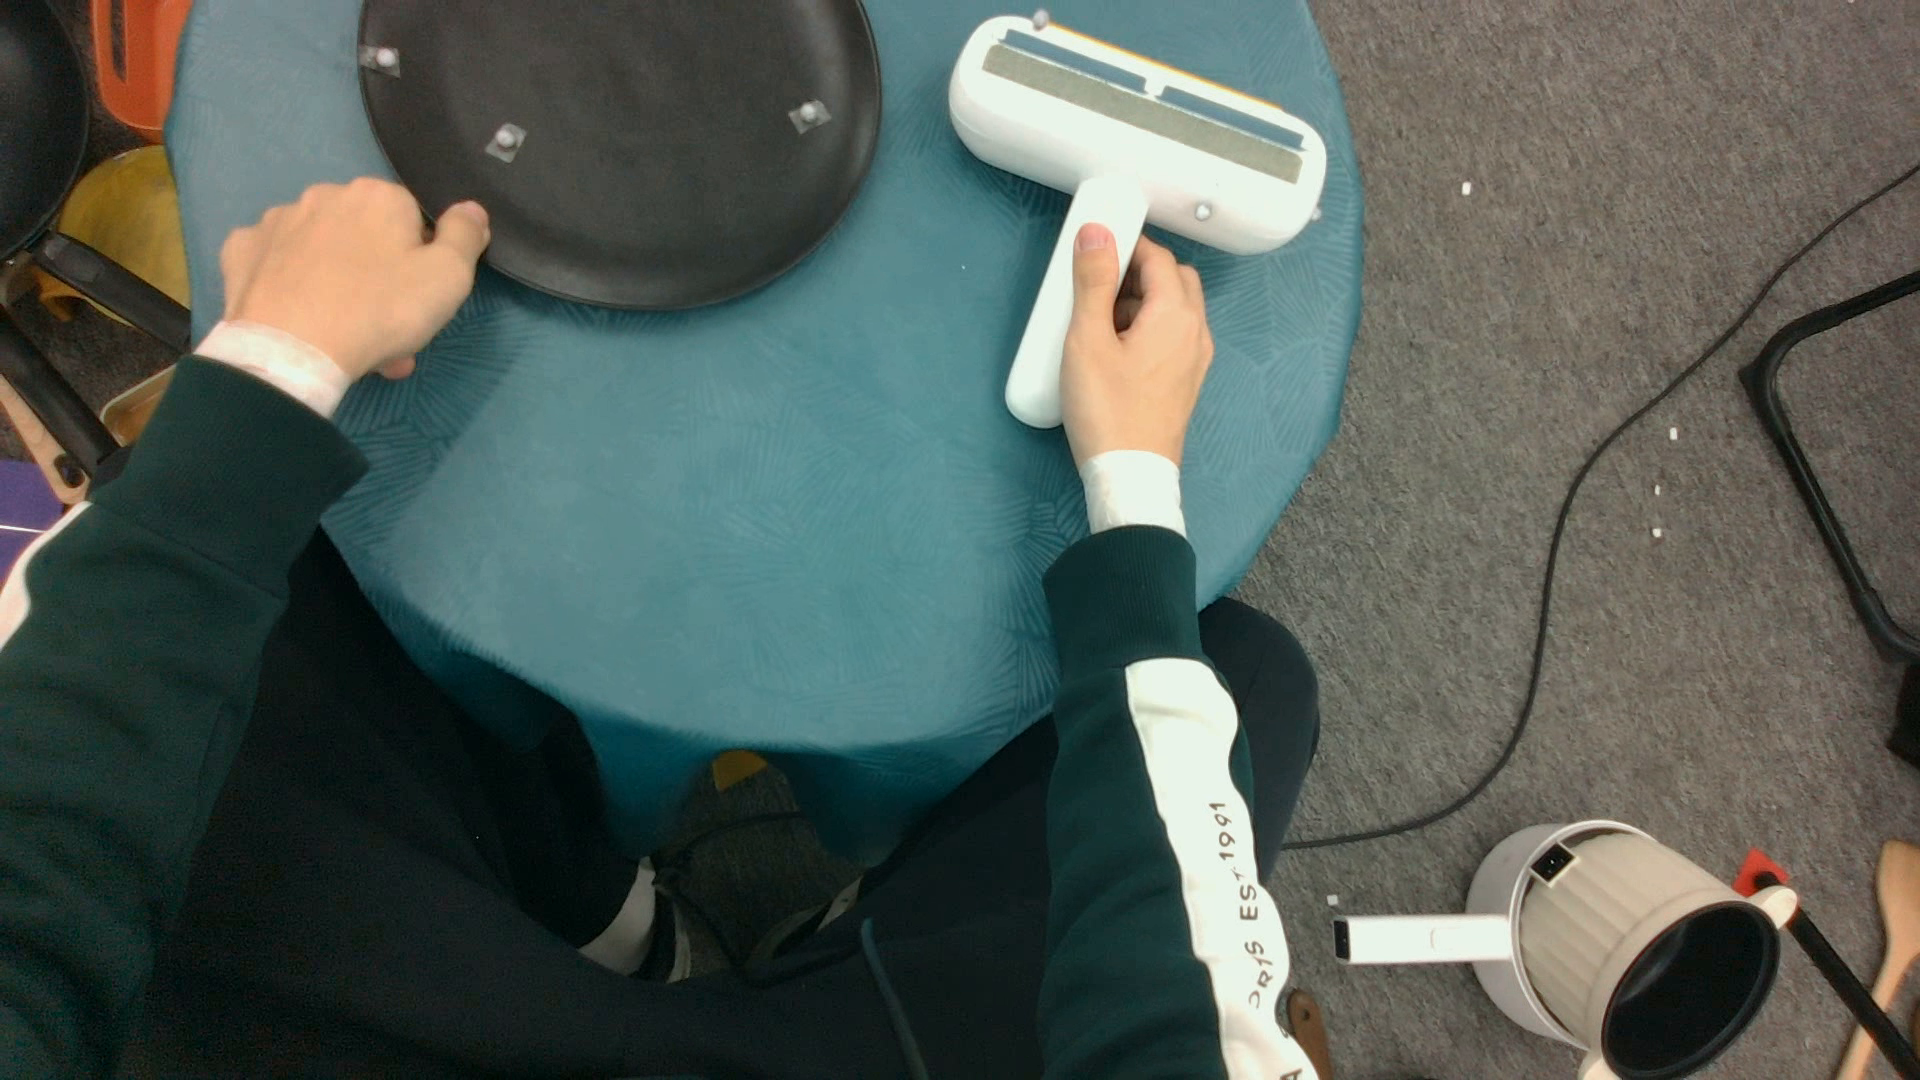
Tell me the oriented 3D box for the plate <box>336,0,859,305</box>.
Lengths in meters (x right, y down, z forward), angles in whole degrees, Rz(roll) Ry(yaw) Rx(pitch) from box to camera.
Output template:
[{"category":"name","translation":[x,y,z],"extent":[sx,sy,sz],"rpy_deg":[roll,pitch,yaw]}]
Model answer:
[{"category":"plate","translation":[-0.170,-0.227,0.670],"extent":[0.244,0.023,0.245],"rpy_deg":[3,78,-14]}]

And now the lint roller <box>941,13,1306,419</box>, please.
[{"category":"lint roller","translation":[0.058,-0.153,0.712],"extent":[0.193,0.074,0.192],"rpy_deg":[25,88,-2]}]
